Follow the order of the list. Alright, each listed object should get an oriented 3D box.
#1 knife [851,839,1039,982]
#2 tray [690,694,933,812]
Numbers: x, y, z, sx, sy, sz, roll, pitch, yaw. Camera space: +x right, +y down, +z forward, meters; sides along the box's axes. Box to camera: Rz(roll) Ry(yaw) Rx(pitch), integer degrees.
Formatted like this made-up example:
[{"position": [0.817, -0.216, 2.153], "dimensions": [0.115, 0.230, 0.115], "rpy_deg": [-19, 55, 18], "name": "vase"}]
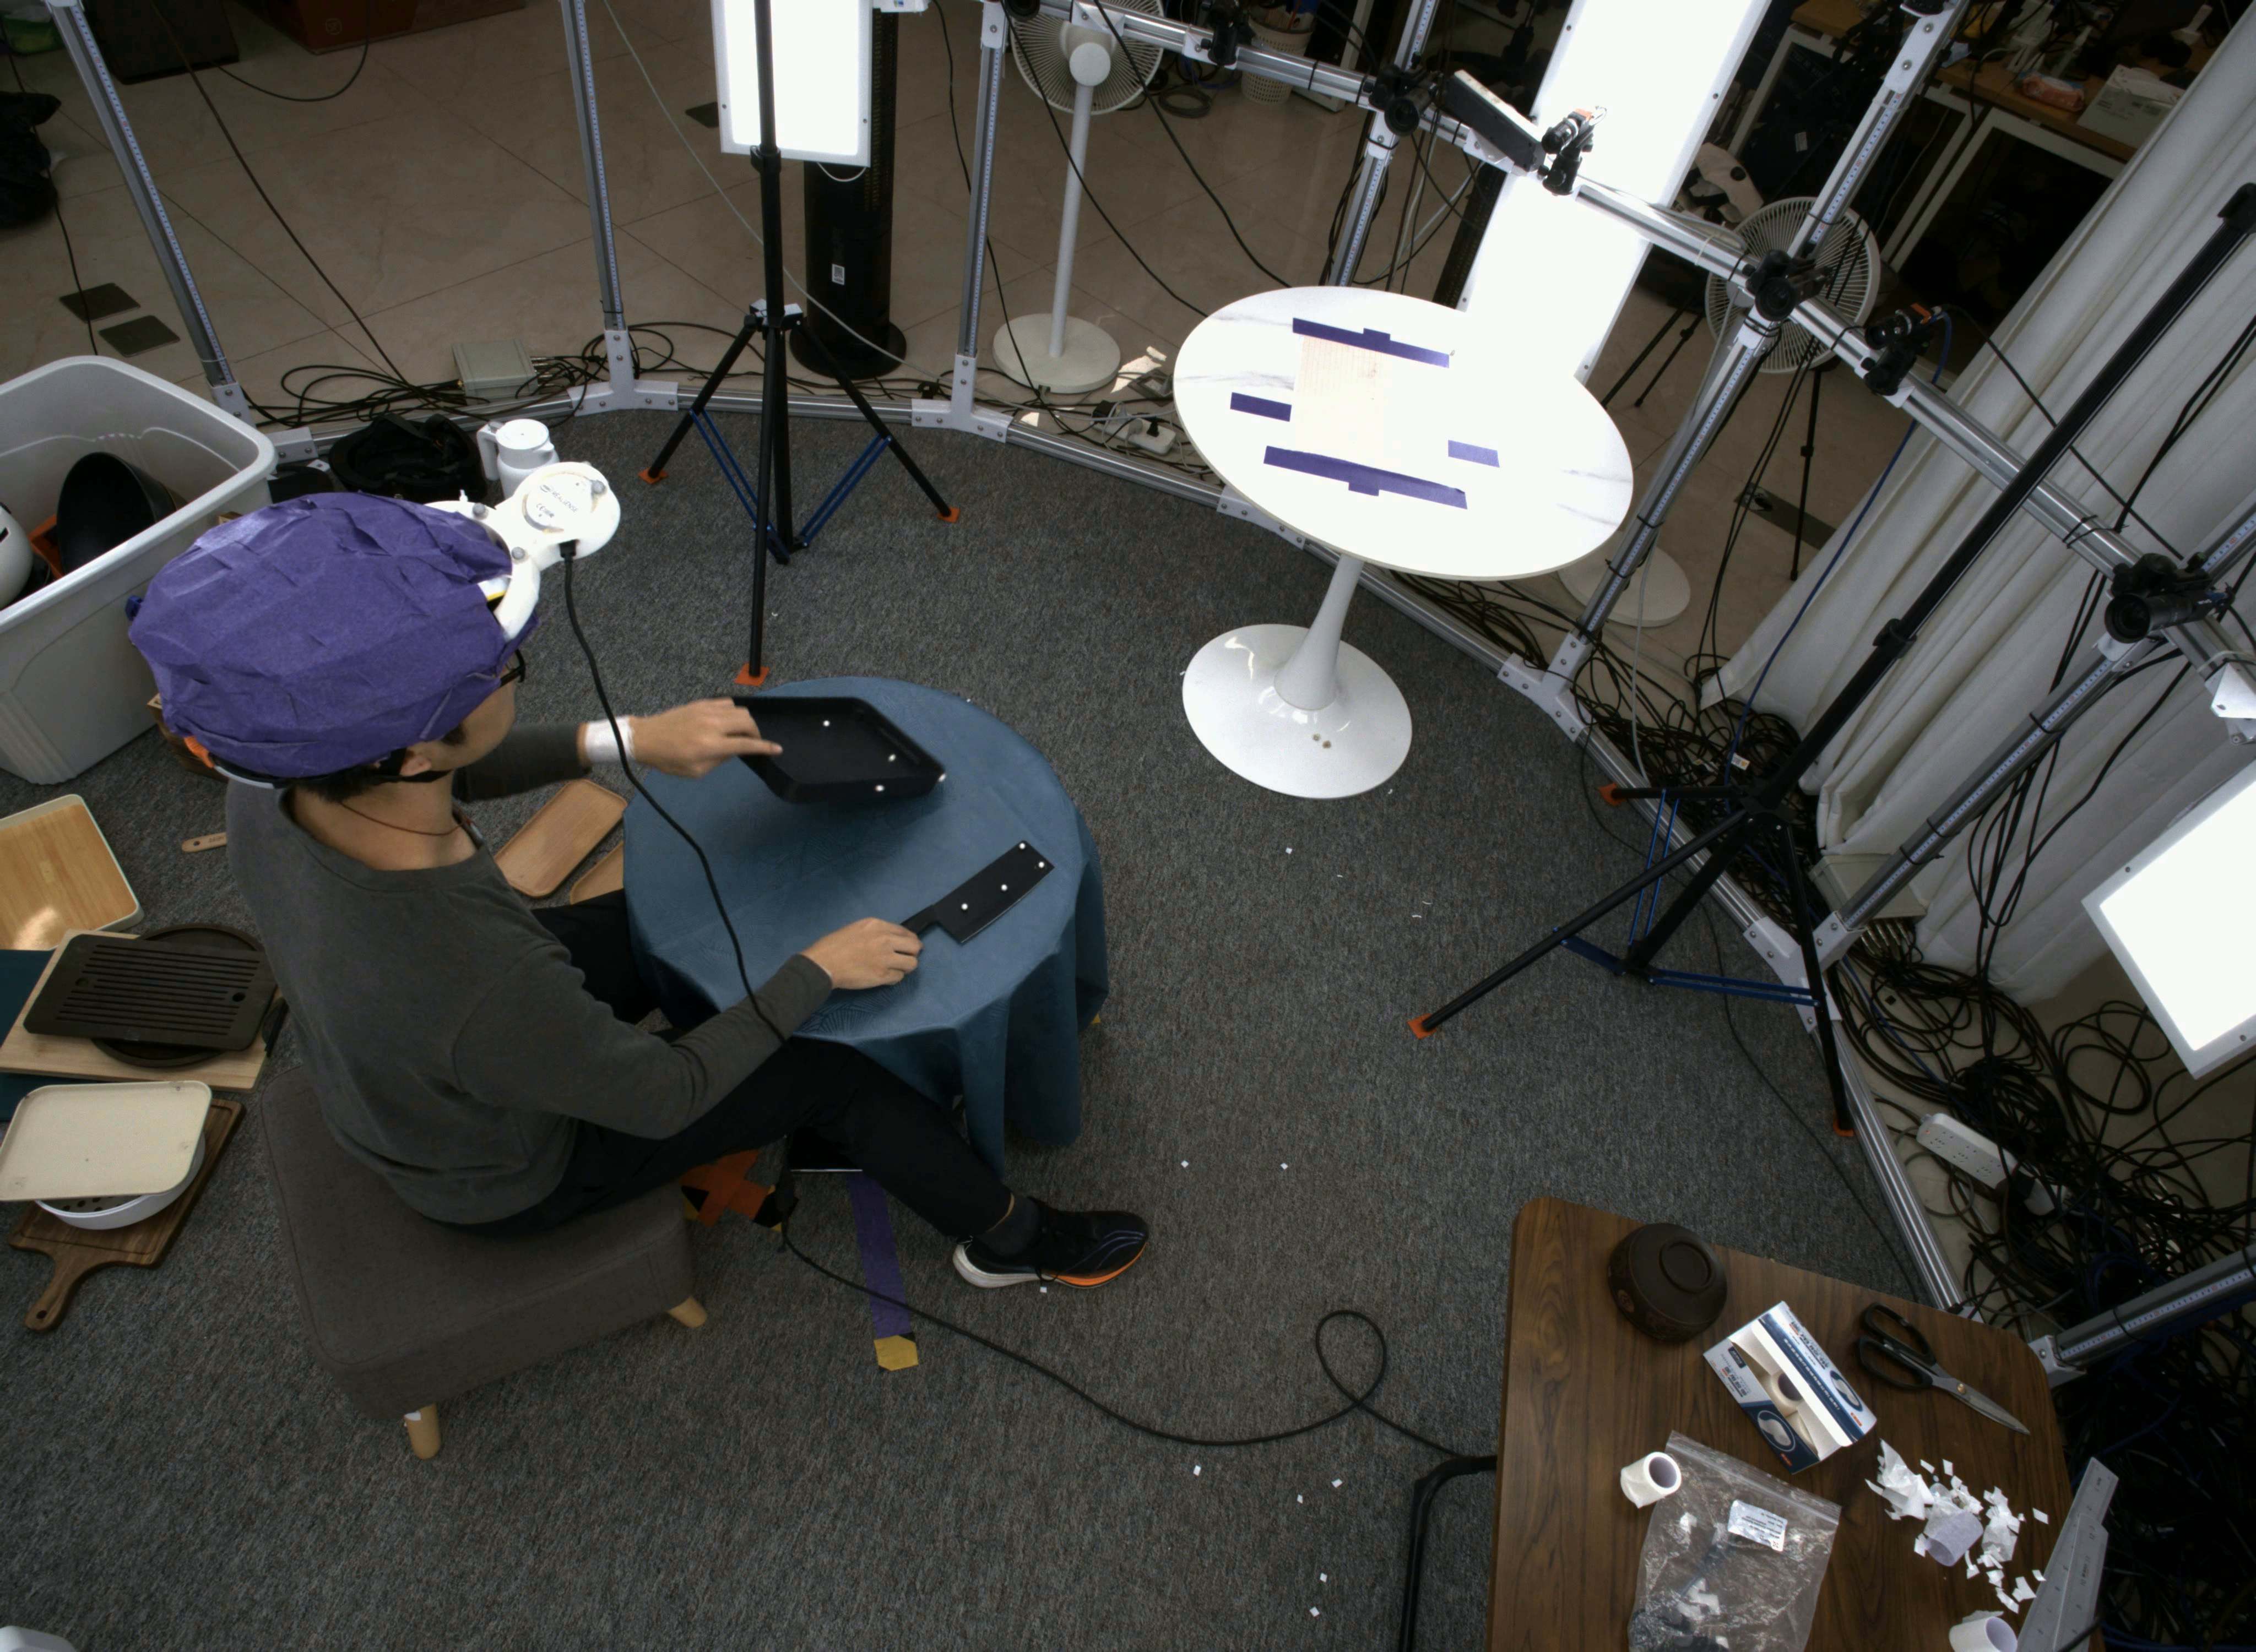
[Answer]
[{"position": [-0.238, 0.110, 1.693], "dimensions": [0.079, 0.021, 0.303], "rpy_deg": [44, 54, 17], "name": "knife"}, {"position": [-0.405, -0.102, 1.690], "dimensions": [0.181, 0.037, 0.321], "rpy_deg": [38, 21, 14], "name": "tray"}]
